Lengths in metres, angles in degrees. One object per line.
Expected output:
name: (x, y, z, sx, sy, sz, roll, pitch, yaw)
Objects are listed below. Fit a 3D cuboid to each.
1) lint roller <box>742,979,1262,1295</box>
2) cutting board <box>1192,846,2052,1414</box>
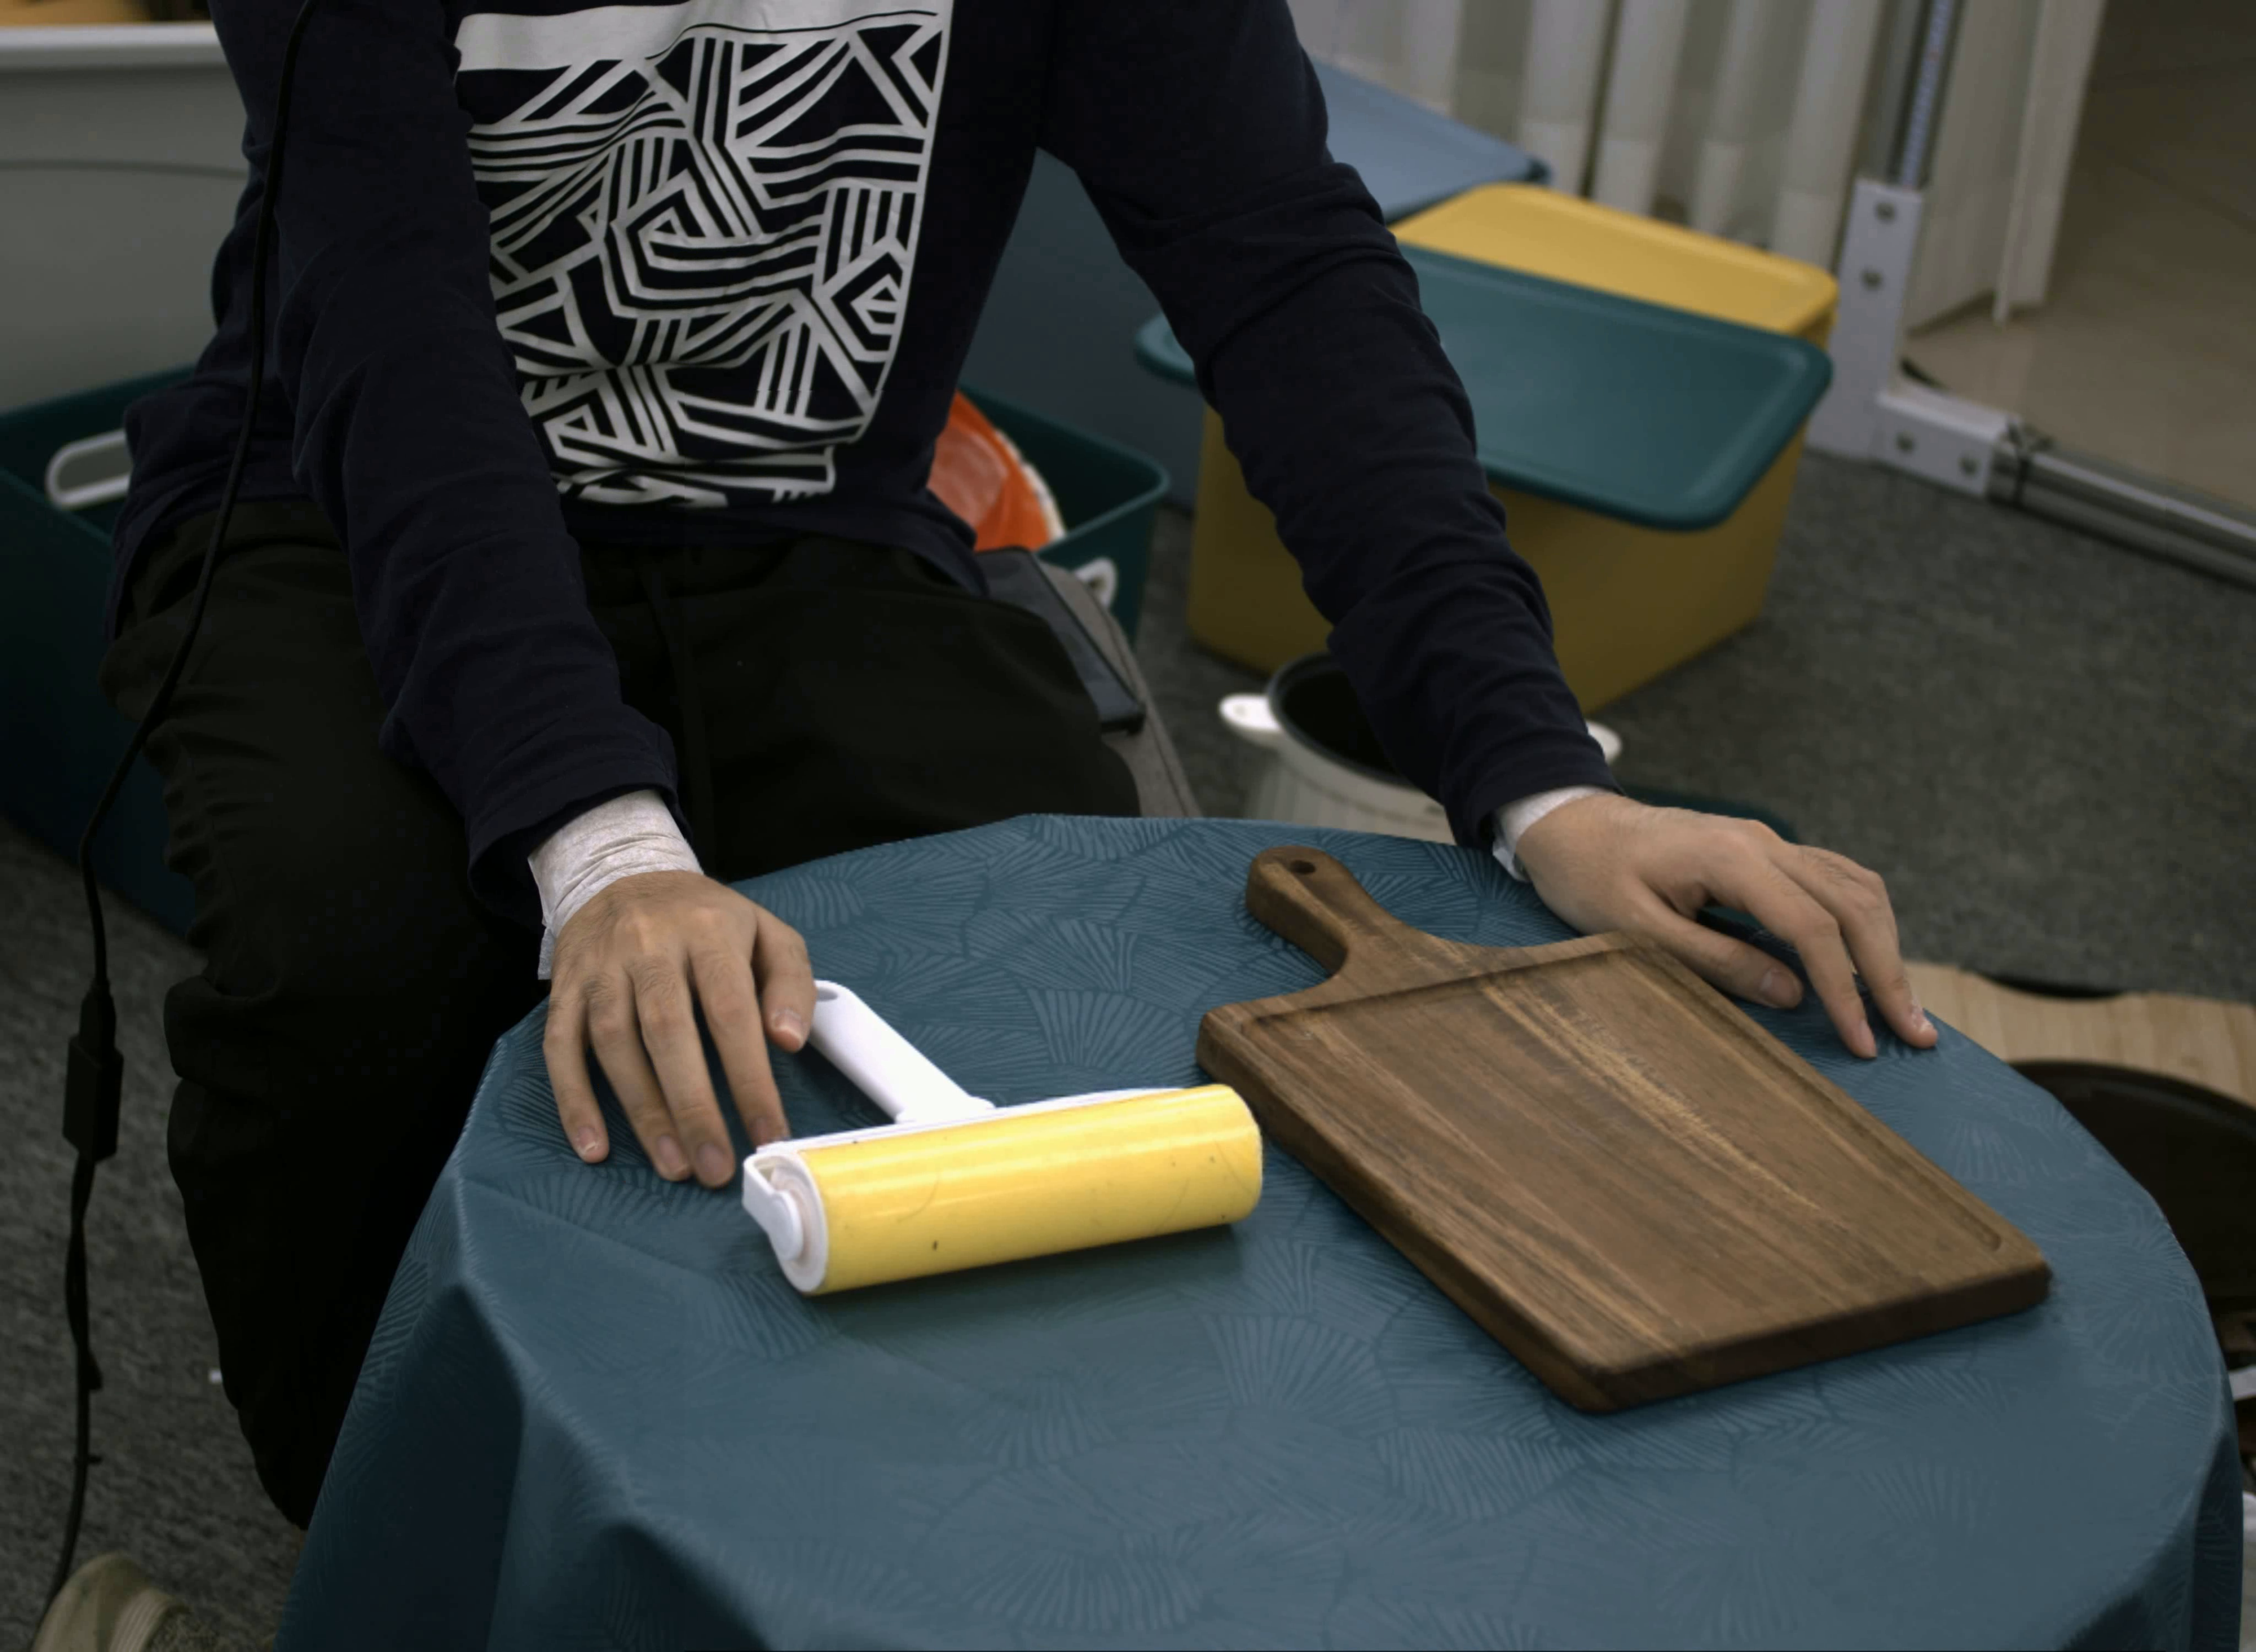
lint roller: (-0.071, 0.087, 1.807, 0.173, 0.051, 0.194, -8, 33, -28)
cutting board: (0.142, 0.092, 1.877, 0.200, 0.023, 0.355, -10, 30, -30)
